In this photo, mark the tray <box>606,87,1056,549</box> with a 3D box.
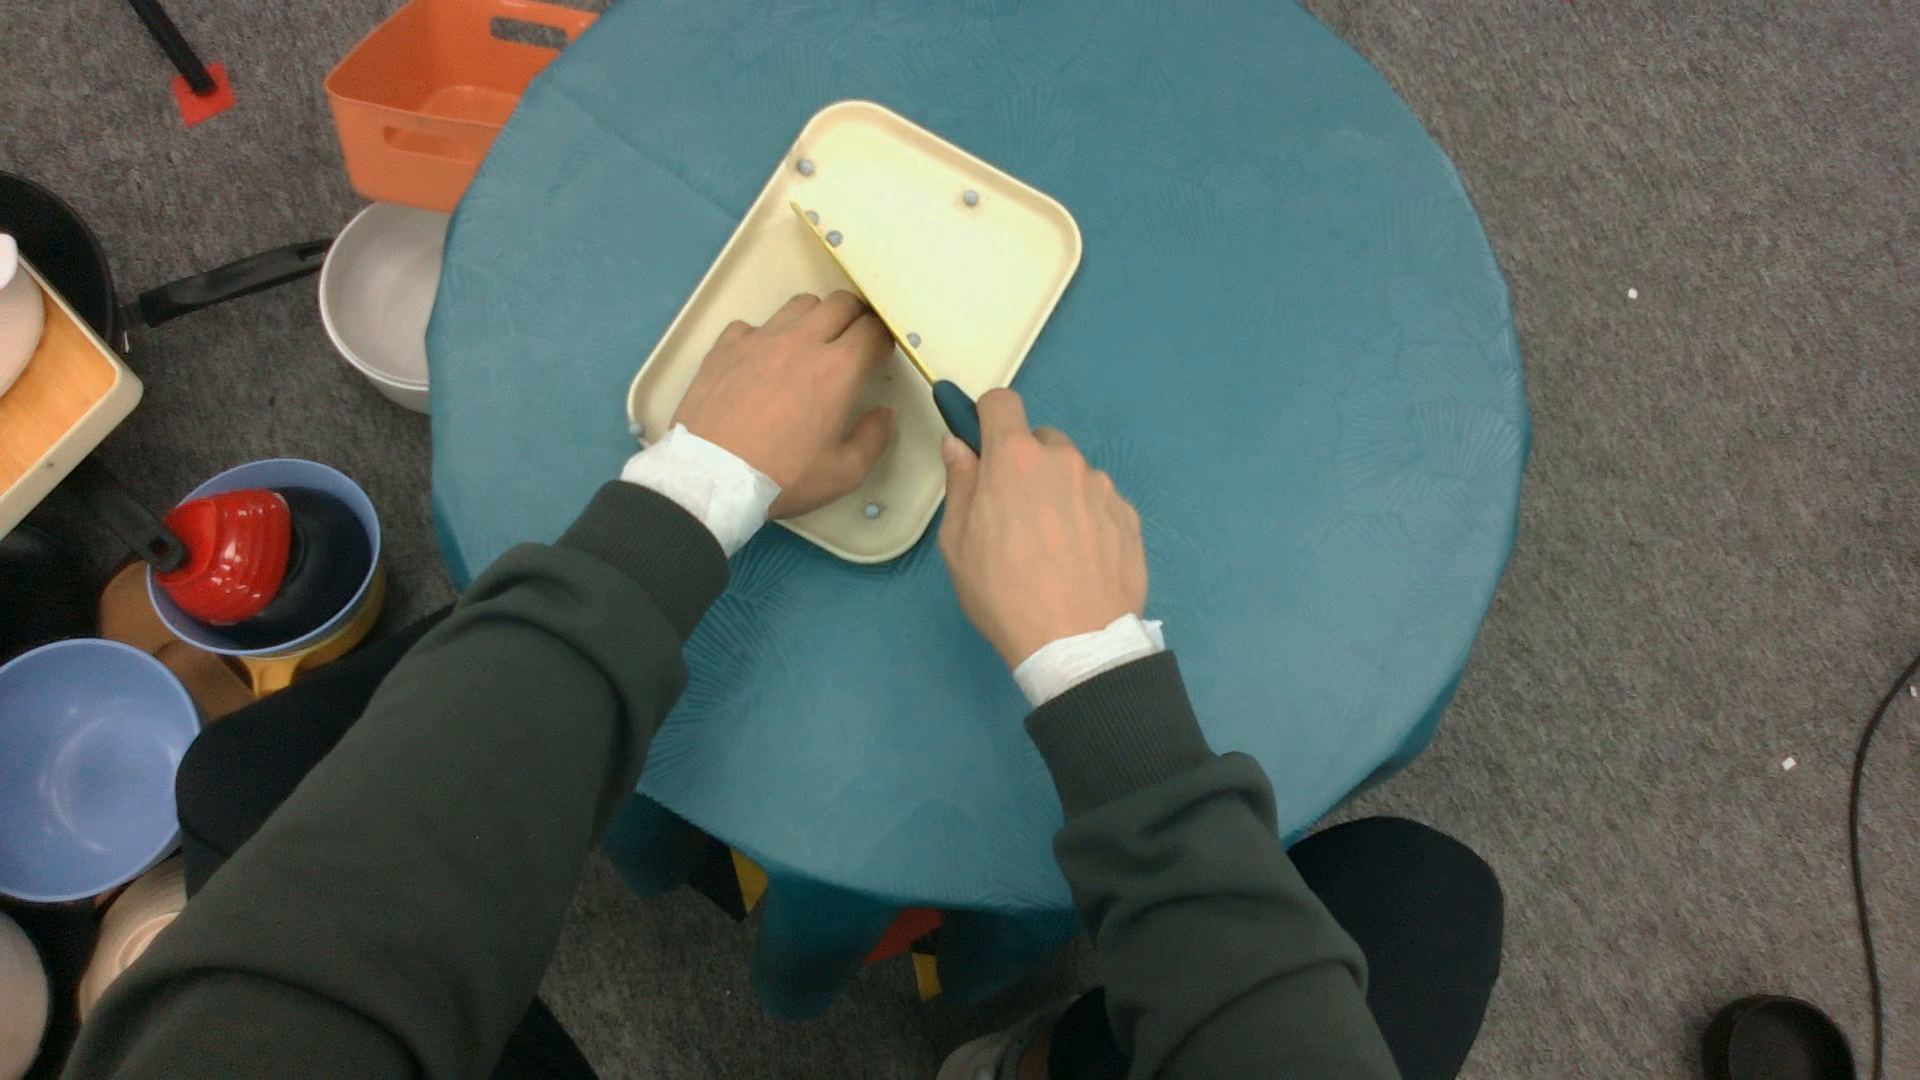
[{"bbox_3d":[-0.065,-0.123,0.739,0.171,0.017,0.240,28,72,1],"label":"tray"}]

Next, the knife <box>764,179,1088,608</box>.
[{"bbox_3d":[-0.024,-0.080,0.688,0.027,0.081,0.290,-37,70,3],"label":"knife"}]
